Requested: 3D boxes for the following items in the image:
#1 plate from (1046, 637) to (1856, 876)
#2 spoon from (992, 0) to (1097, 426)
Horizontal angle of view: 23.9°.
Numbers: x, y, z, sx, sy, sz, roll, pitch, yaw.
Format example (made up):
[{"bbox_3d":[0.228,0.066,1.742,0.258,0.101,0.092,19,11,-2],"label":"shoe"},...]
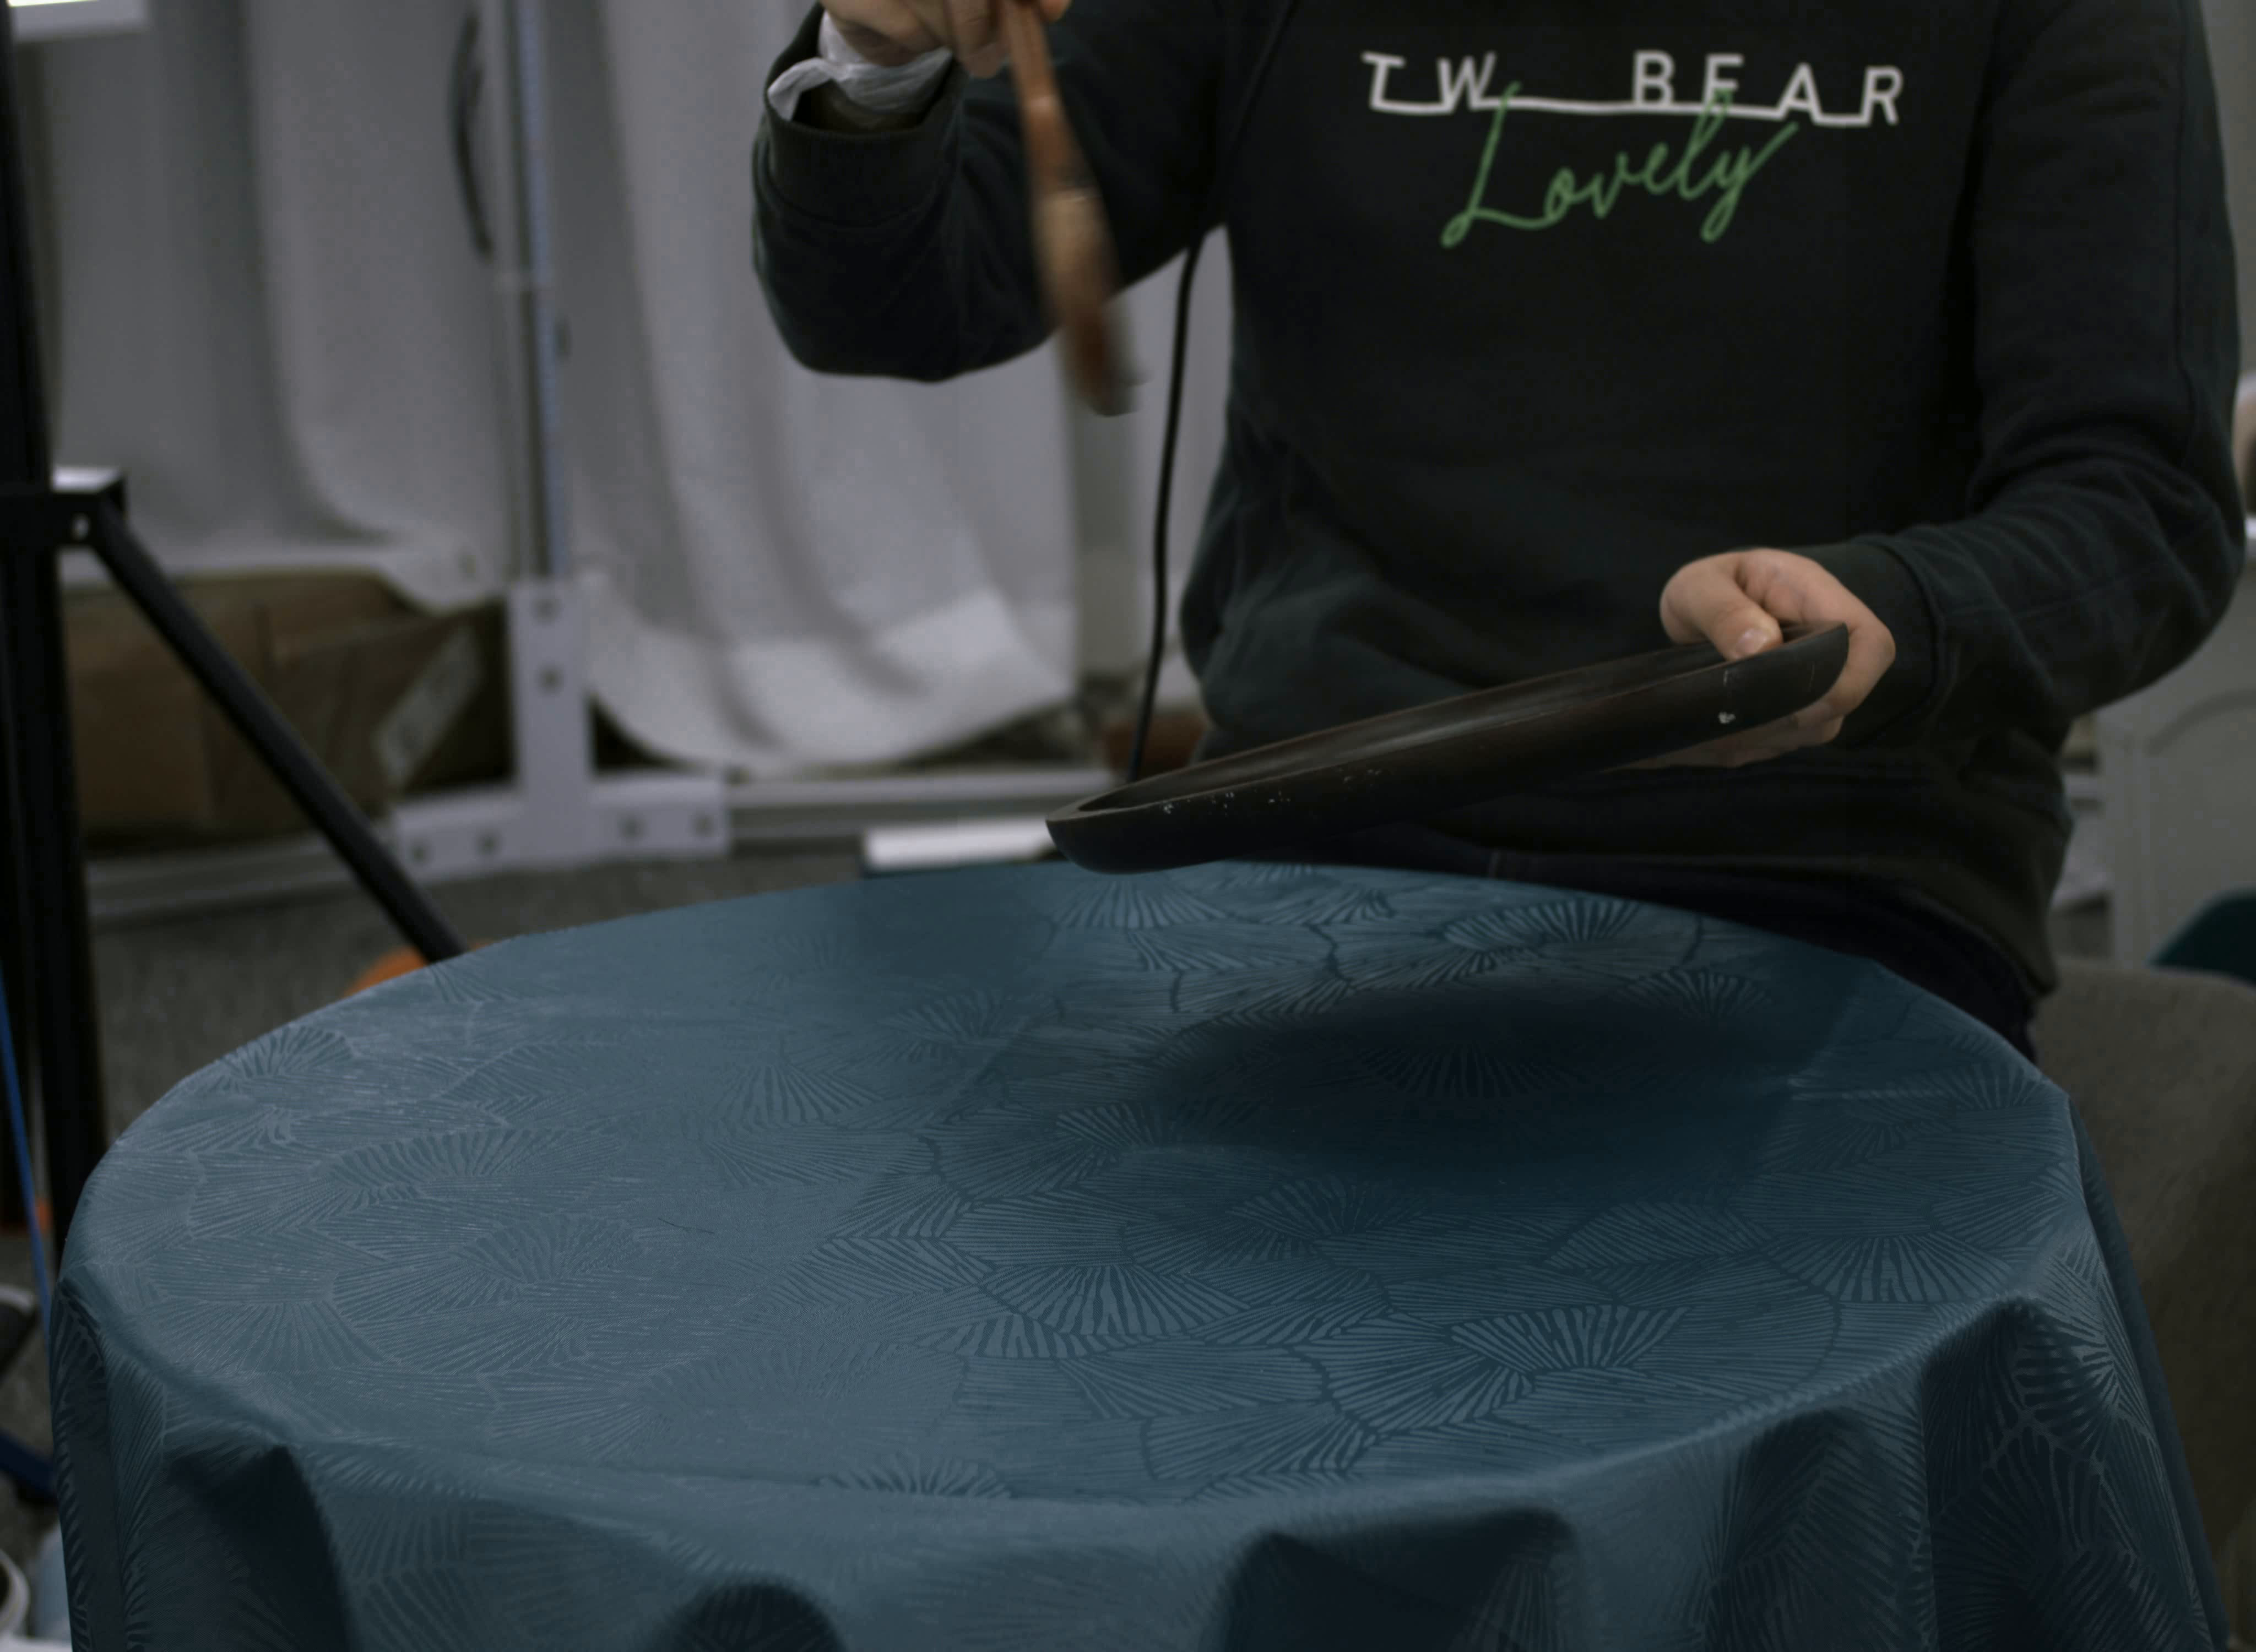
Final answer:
[{"bbox_3d":[0.099,-0.022,1.626,0.253,0.029,0.255,-14,4,-1],"label":"plate"},{"bbox_3d":[-0.030,-0.215,1.648,0.017,0.074,0.219,-9,56,2],"label":"spoon"}]
